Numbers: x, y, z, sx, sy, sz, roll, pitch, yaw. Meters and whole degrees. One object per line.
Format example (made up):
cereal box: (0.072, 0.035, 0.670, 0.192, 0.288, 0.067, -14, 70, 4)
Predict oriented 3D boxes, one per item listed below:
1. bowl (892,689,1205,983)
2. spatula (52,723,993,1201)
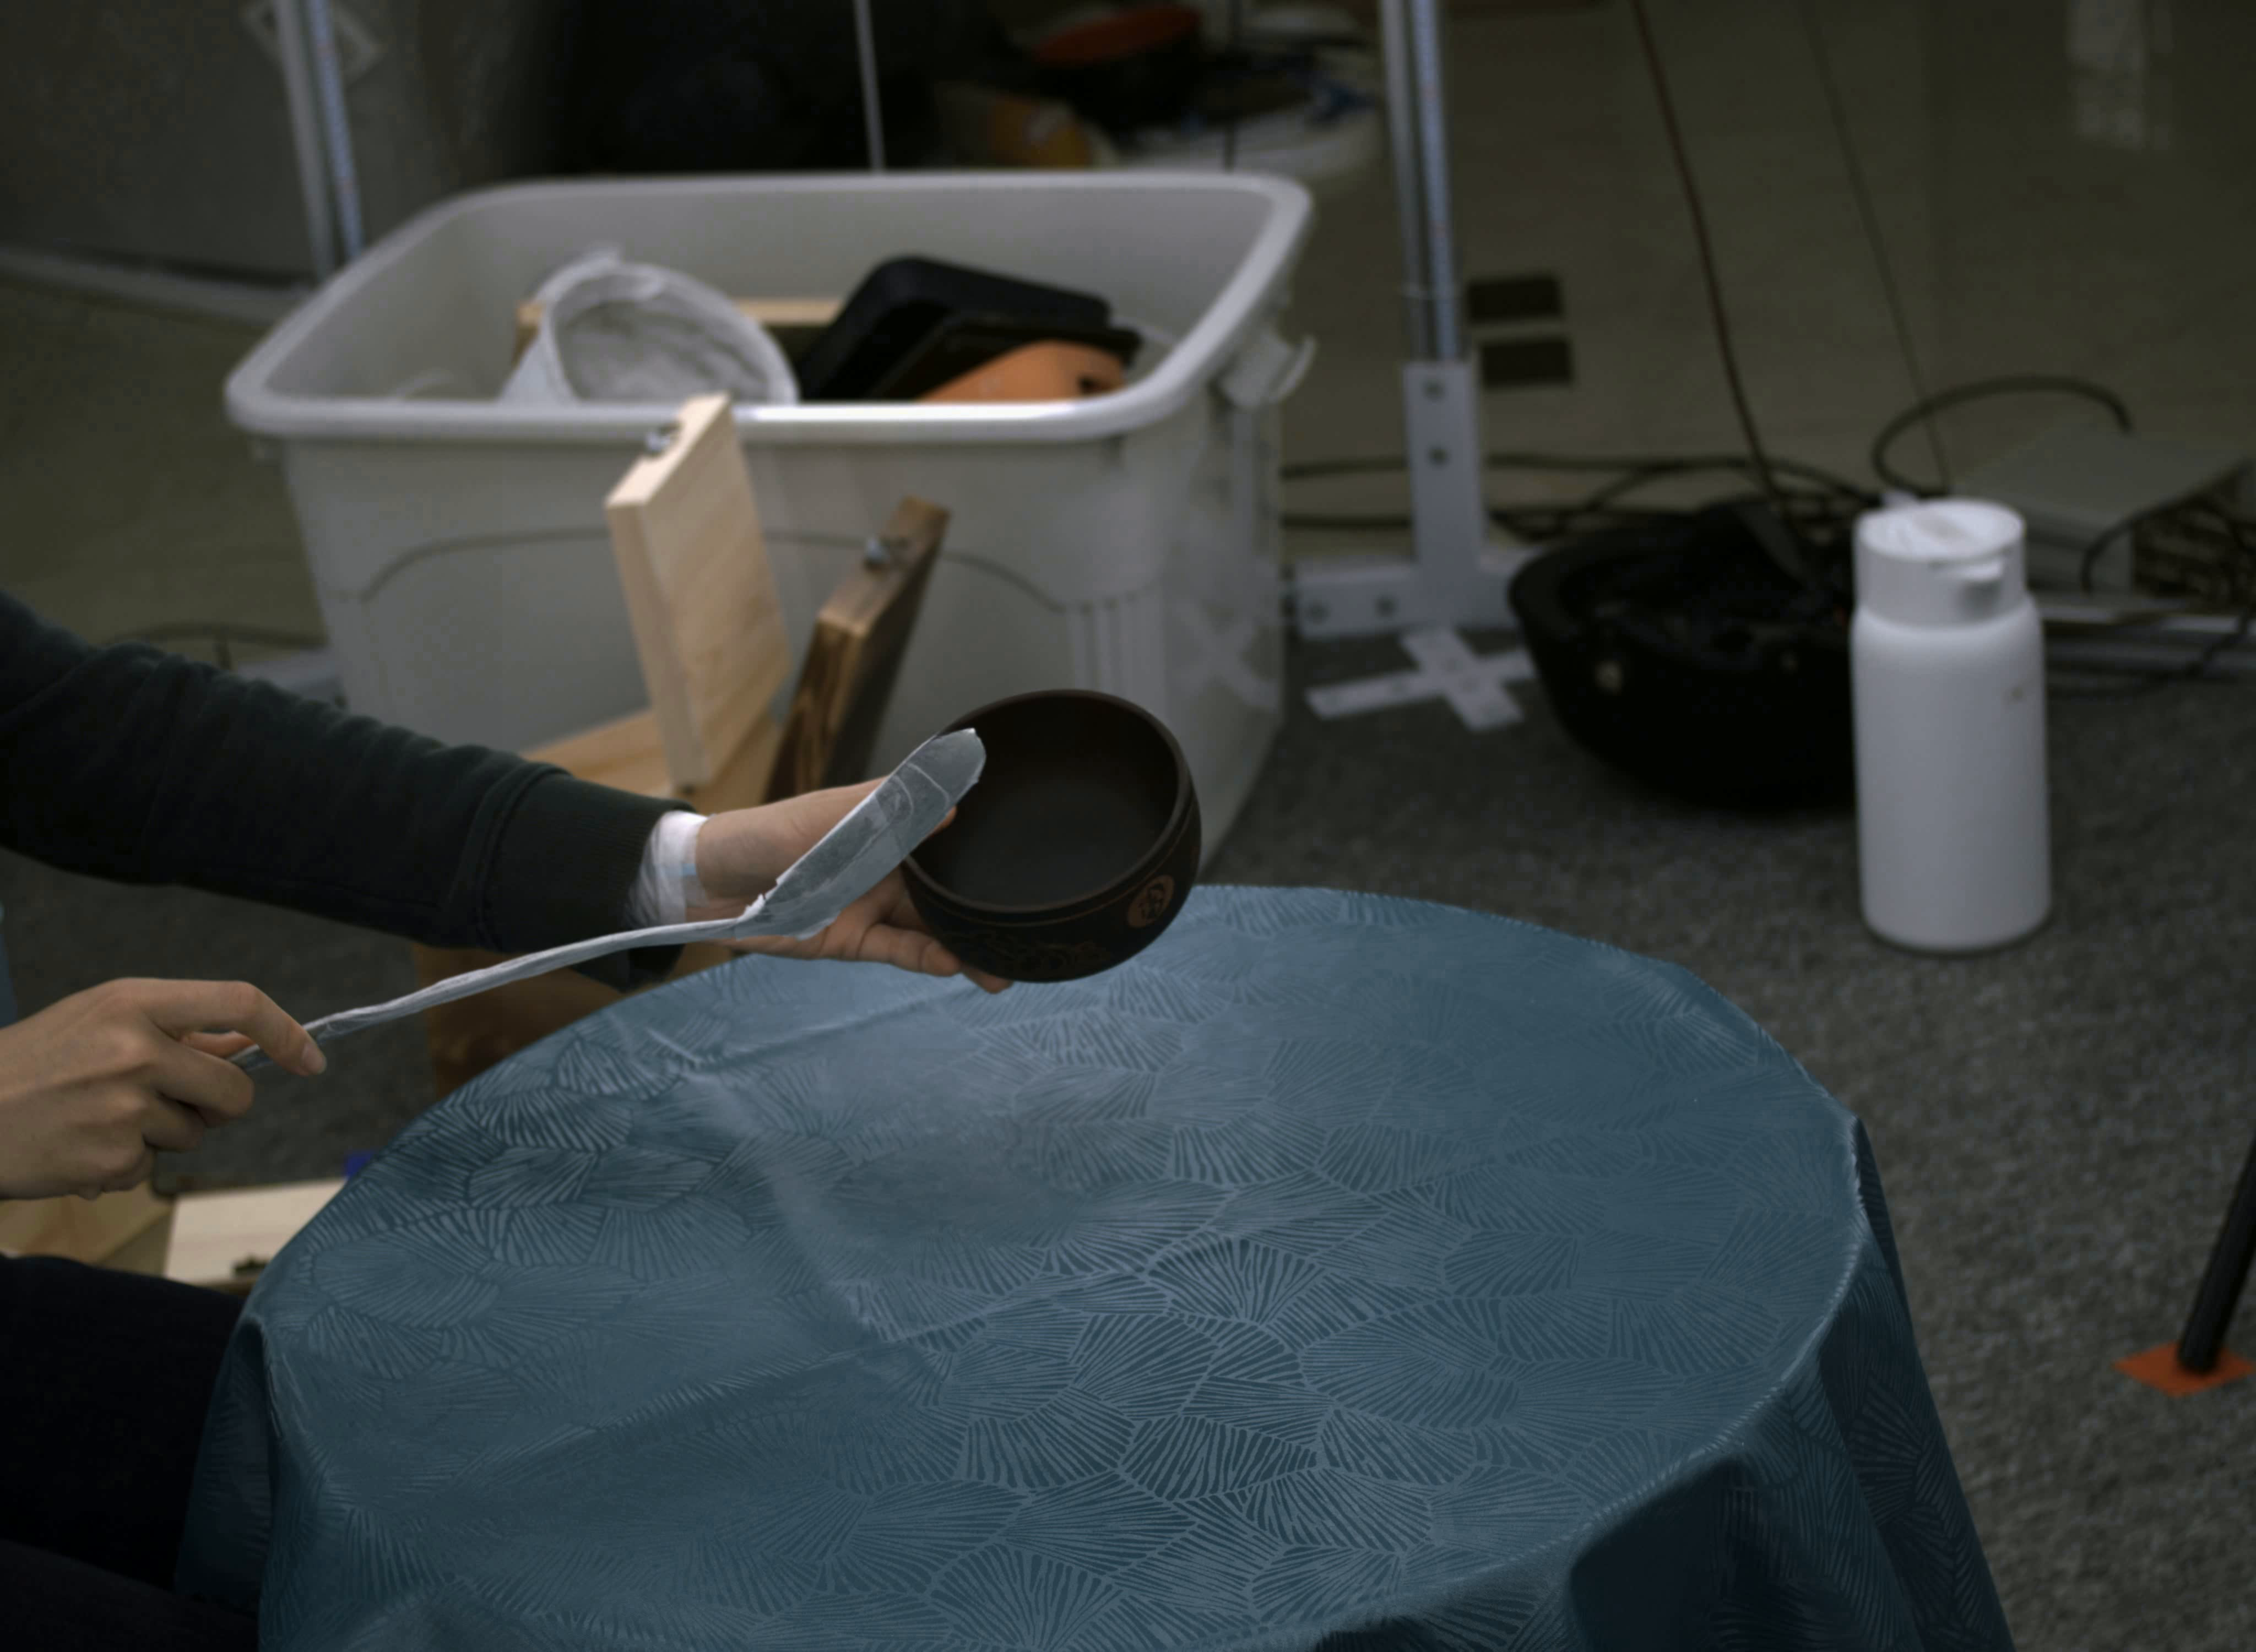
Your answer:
bowl: (-0.027, 0.012, 2.149, 0.118, 0.071, 0.116, -8, 46, 8)
spatula: (-0.213, 0.049, 1.987, 0.364, 0.044, 0.099, -19, -12, -2)
